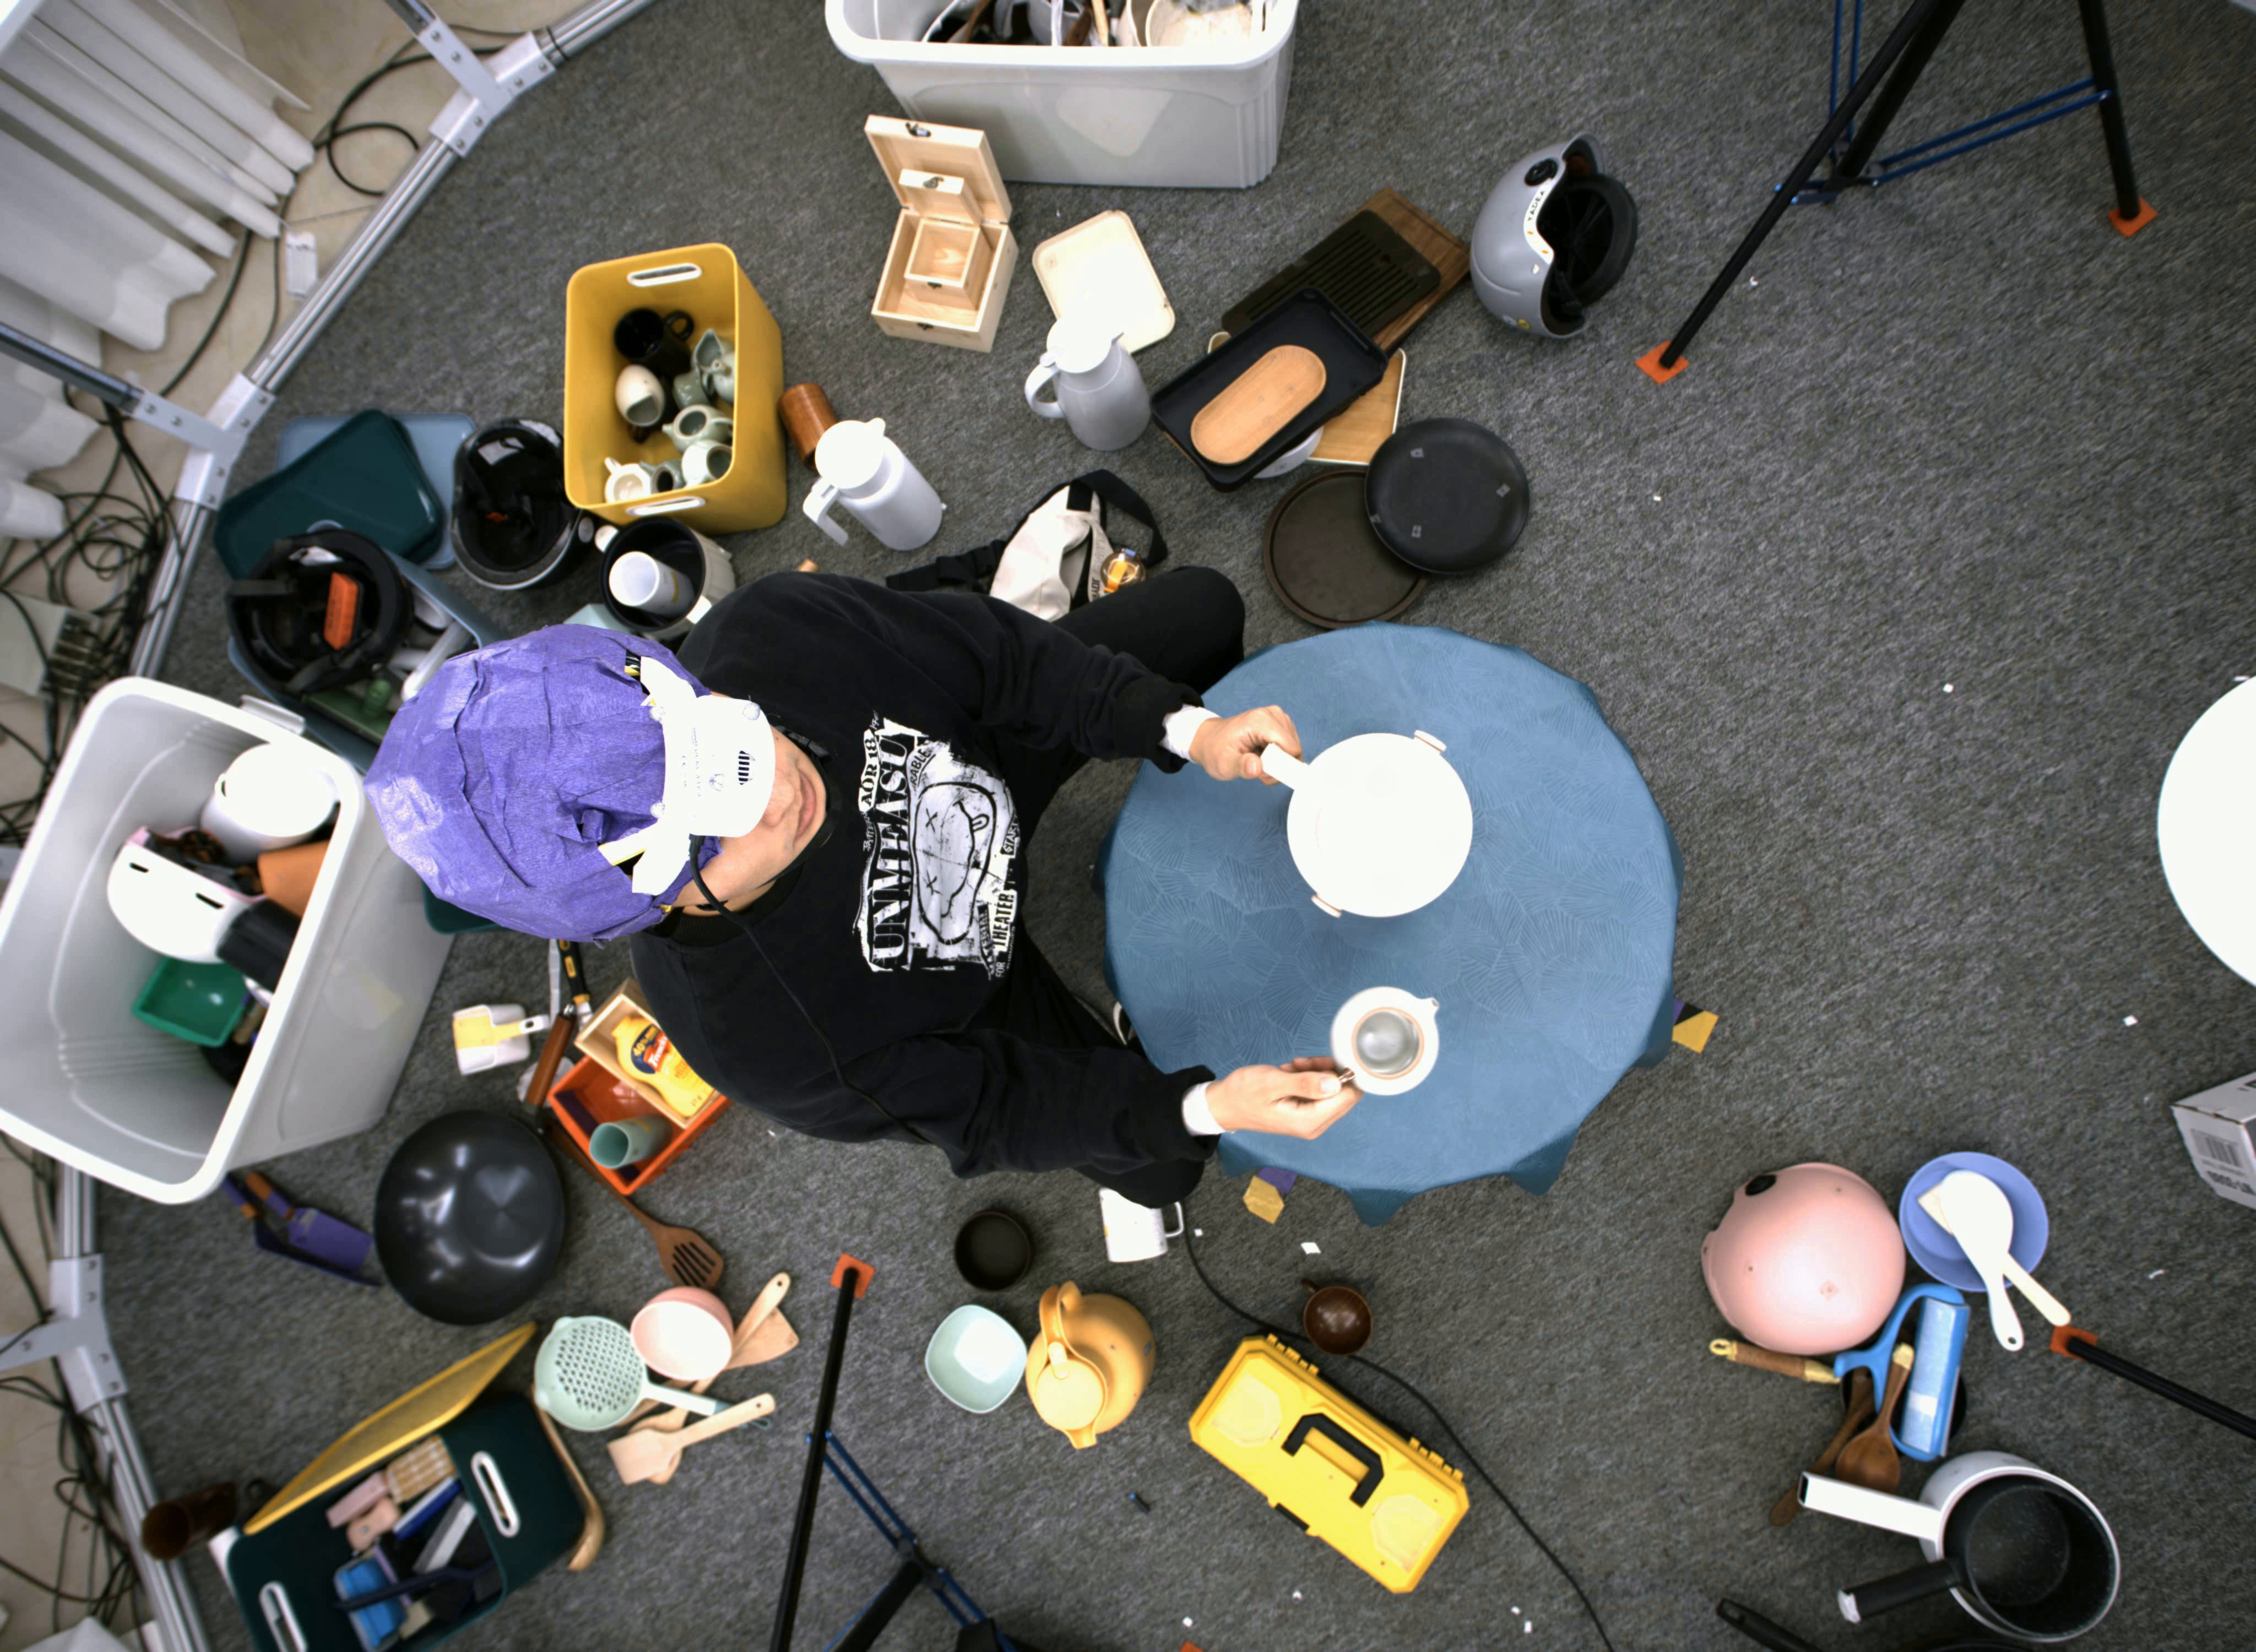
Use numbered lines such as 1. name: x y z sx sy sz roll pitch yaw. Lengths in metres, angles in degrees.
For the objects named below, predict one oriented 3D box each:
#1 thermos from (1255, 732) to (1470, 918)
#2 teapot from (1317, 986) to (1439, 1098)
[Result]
1. thermos: 0.214 -0.015 1.264 0.207 0.403 0.177 31 98 5
2. teapot: 0.212 0.188 1.182 0.128 0.059 0.092 -41 88 2
